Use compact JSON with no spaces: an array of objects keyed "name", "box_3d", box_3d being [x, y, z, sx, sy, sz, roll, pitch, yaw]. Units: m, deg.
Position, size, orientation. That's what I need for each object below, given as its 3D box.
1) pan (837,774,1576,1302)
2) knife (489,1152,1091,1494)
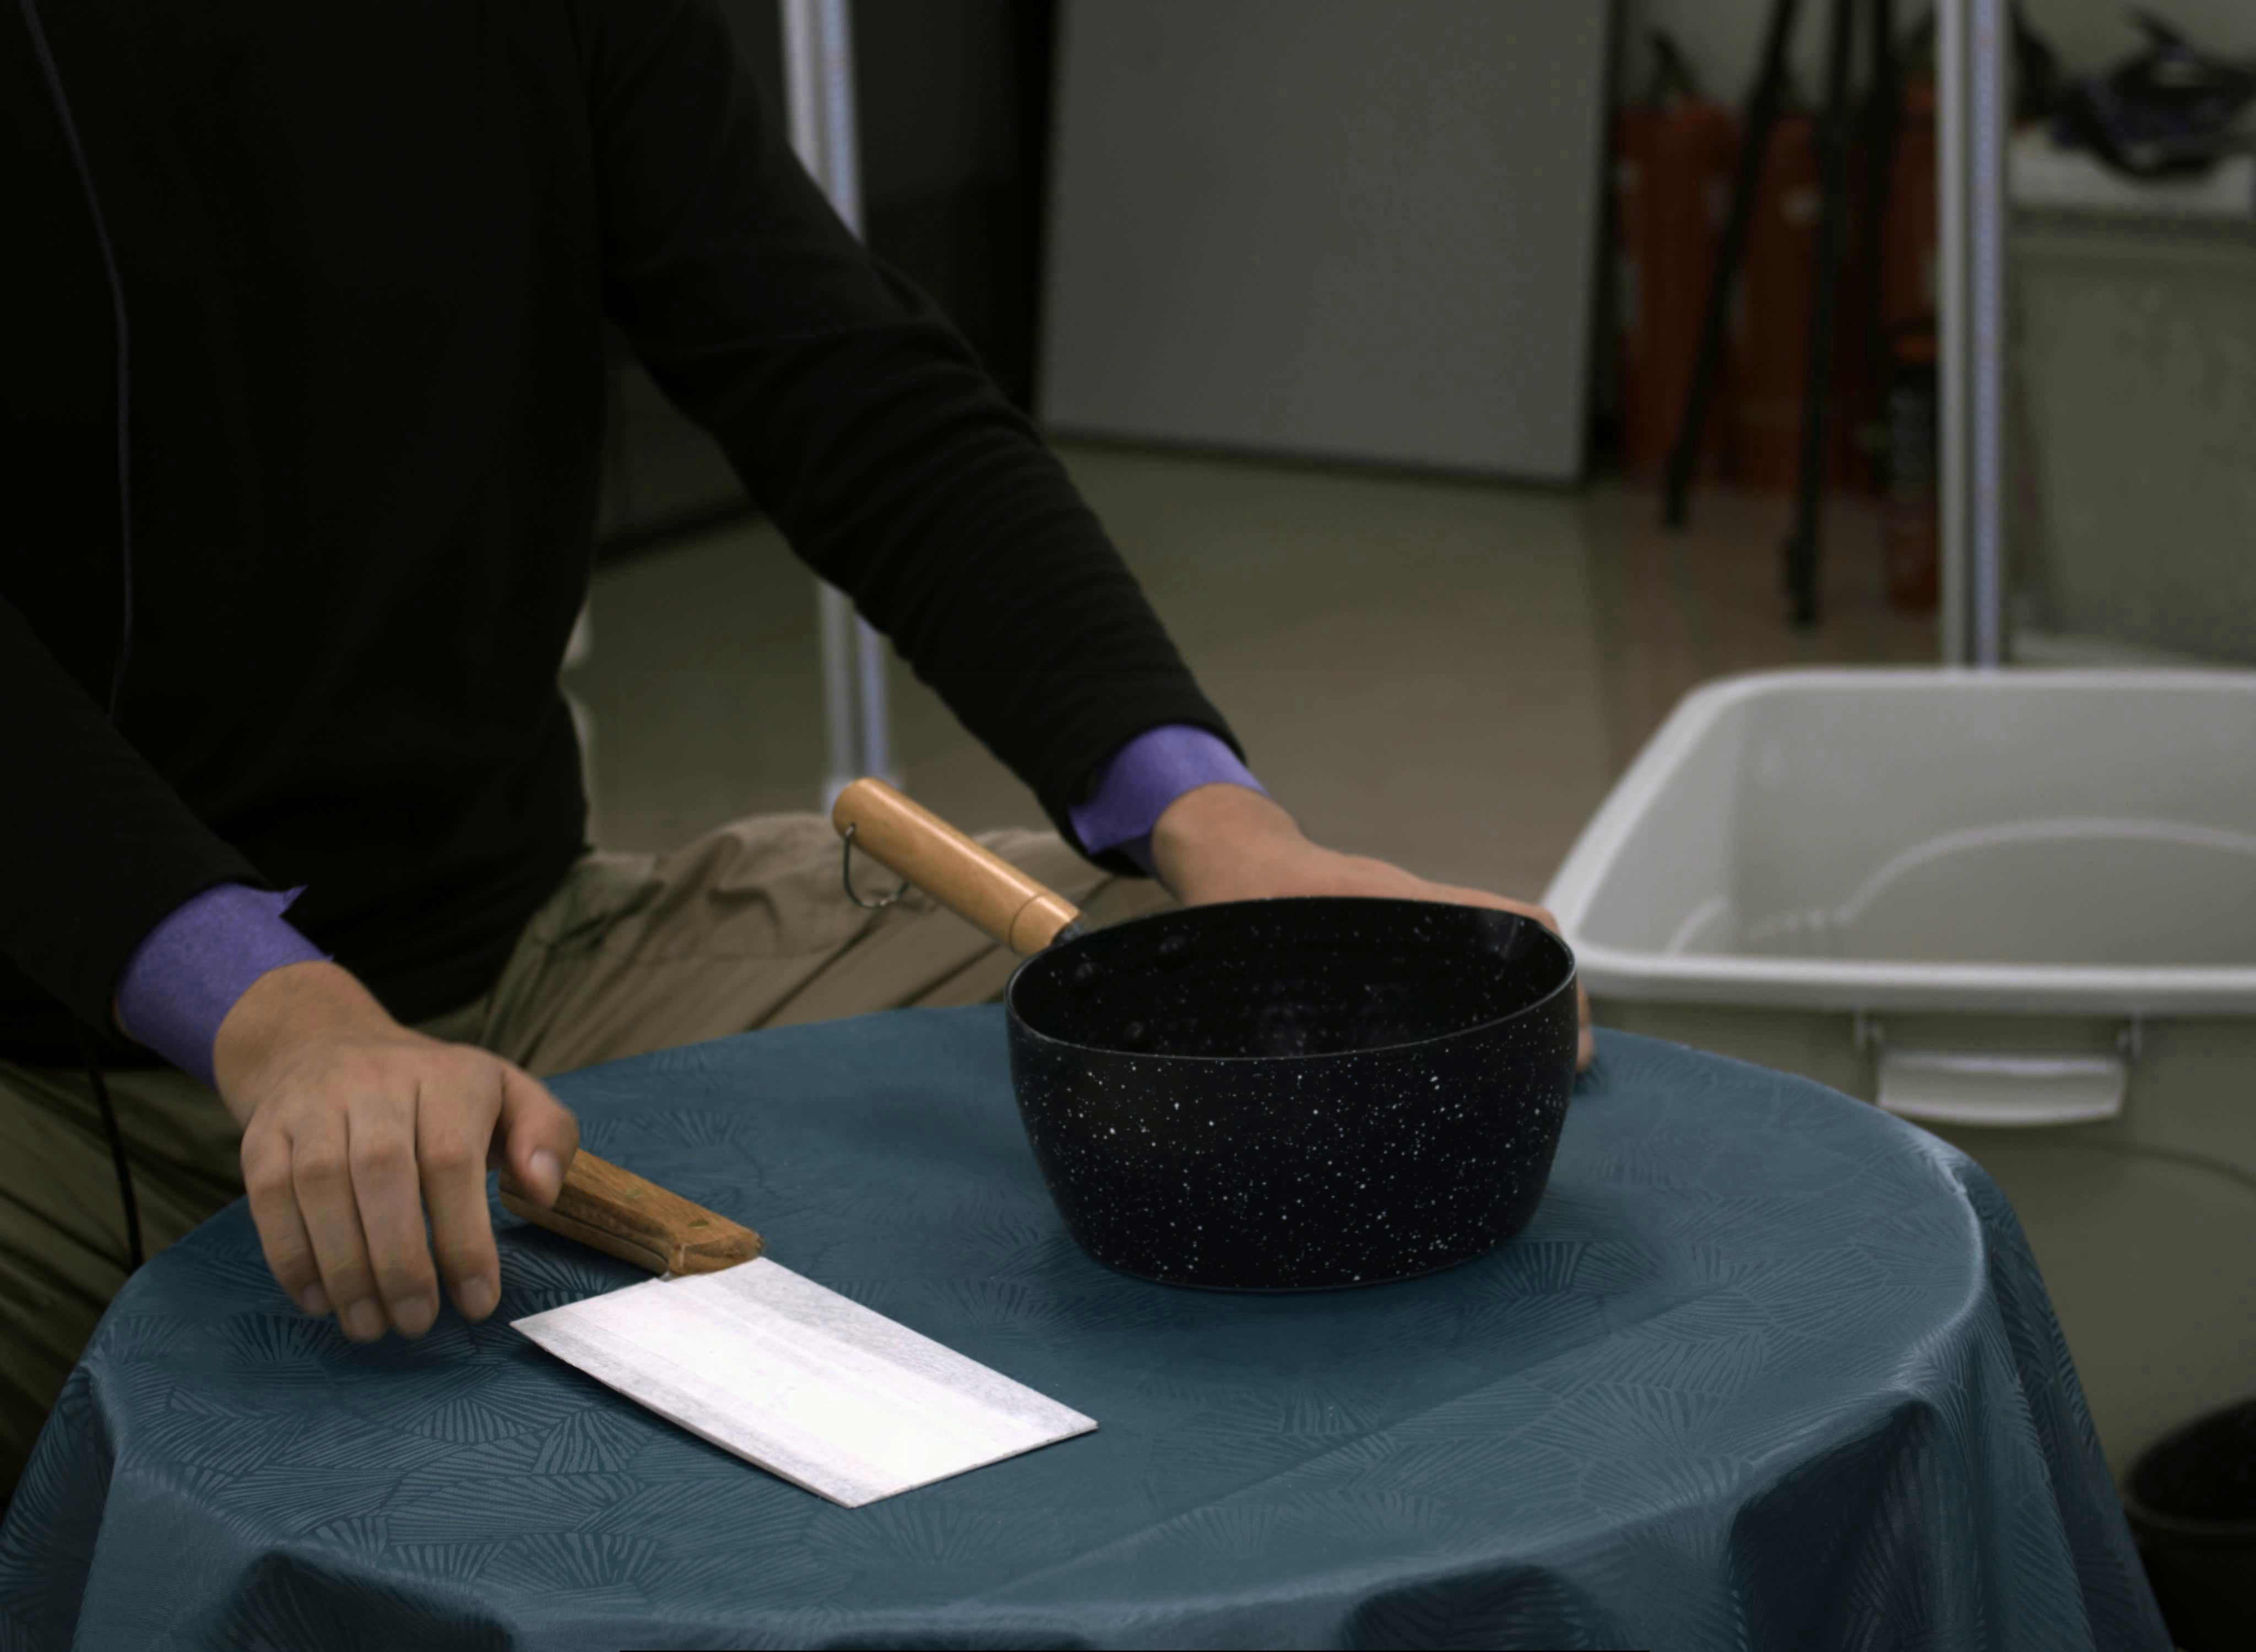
[{"name":"pan","box_3d":[0.005,0.063,1.783,0.203,0.109,0.346,-14,18,-34]},{"name":"knife","box_3d":[-0.130,0.153,1.656,0.091,0.021,0.309,-15,20,-33]}]
